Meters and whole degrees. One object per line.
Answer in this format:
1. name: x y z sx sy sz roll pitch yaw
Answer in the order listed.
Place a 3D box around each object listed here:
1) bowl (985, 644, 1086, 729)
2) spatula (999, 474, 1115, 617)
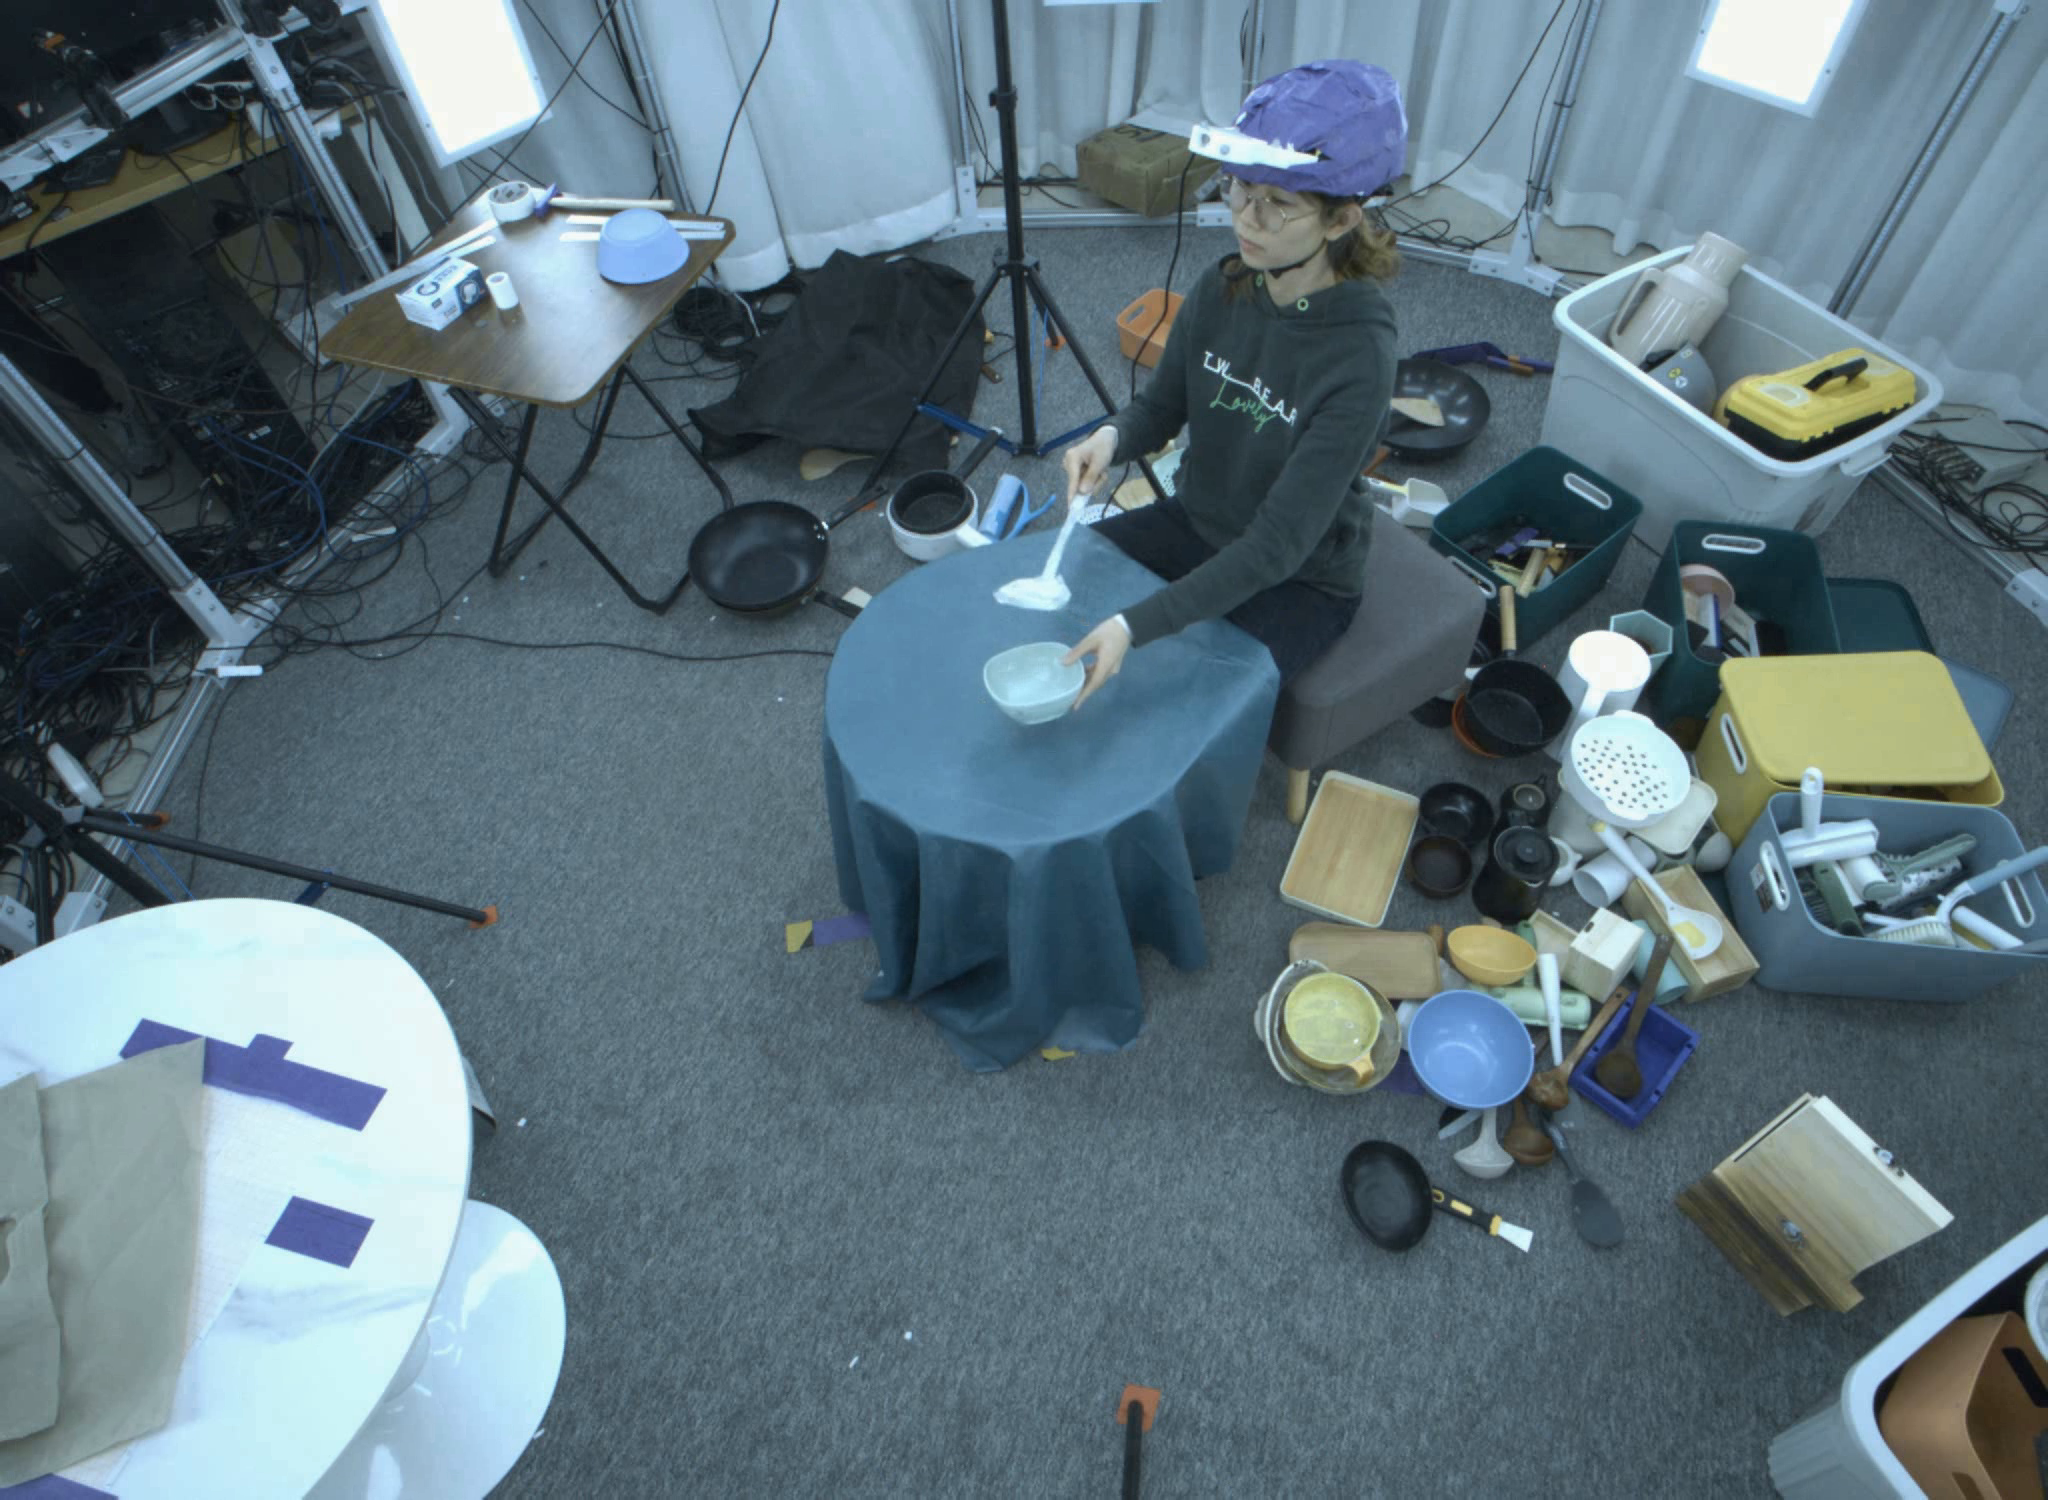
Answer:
1. bowl: 0.019 -0.082 1.748 0.151 0.059 0.150 -4 44 5
2. spatula: 0.066 -0.300 1.734 0.097 0.045 0.364 12 53 16
